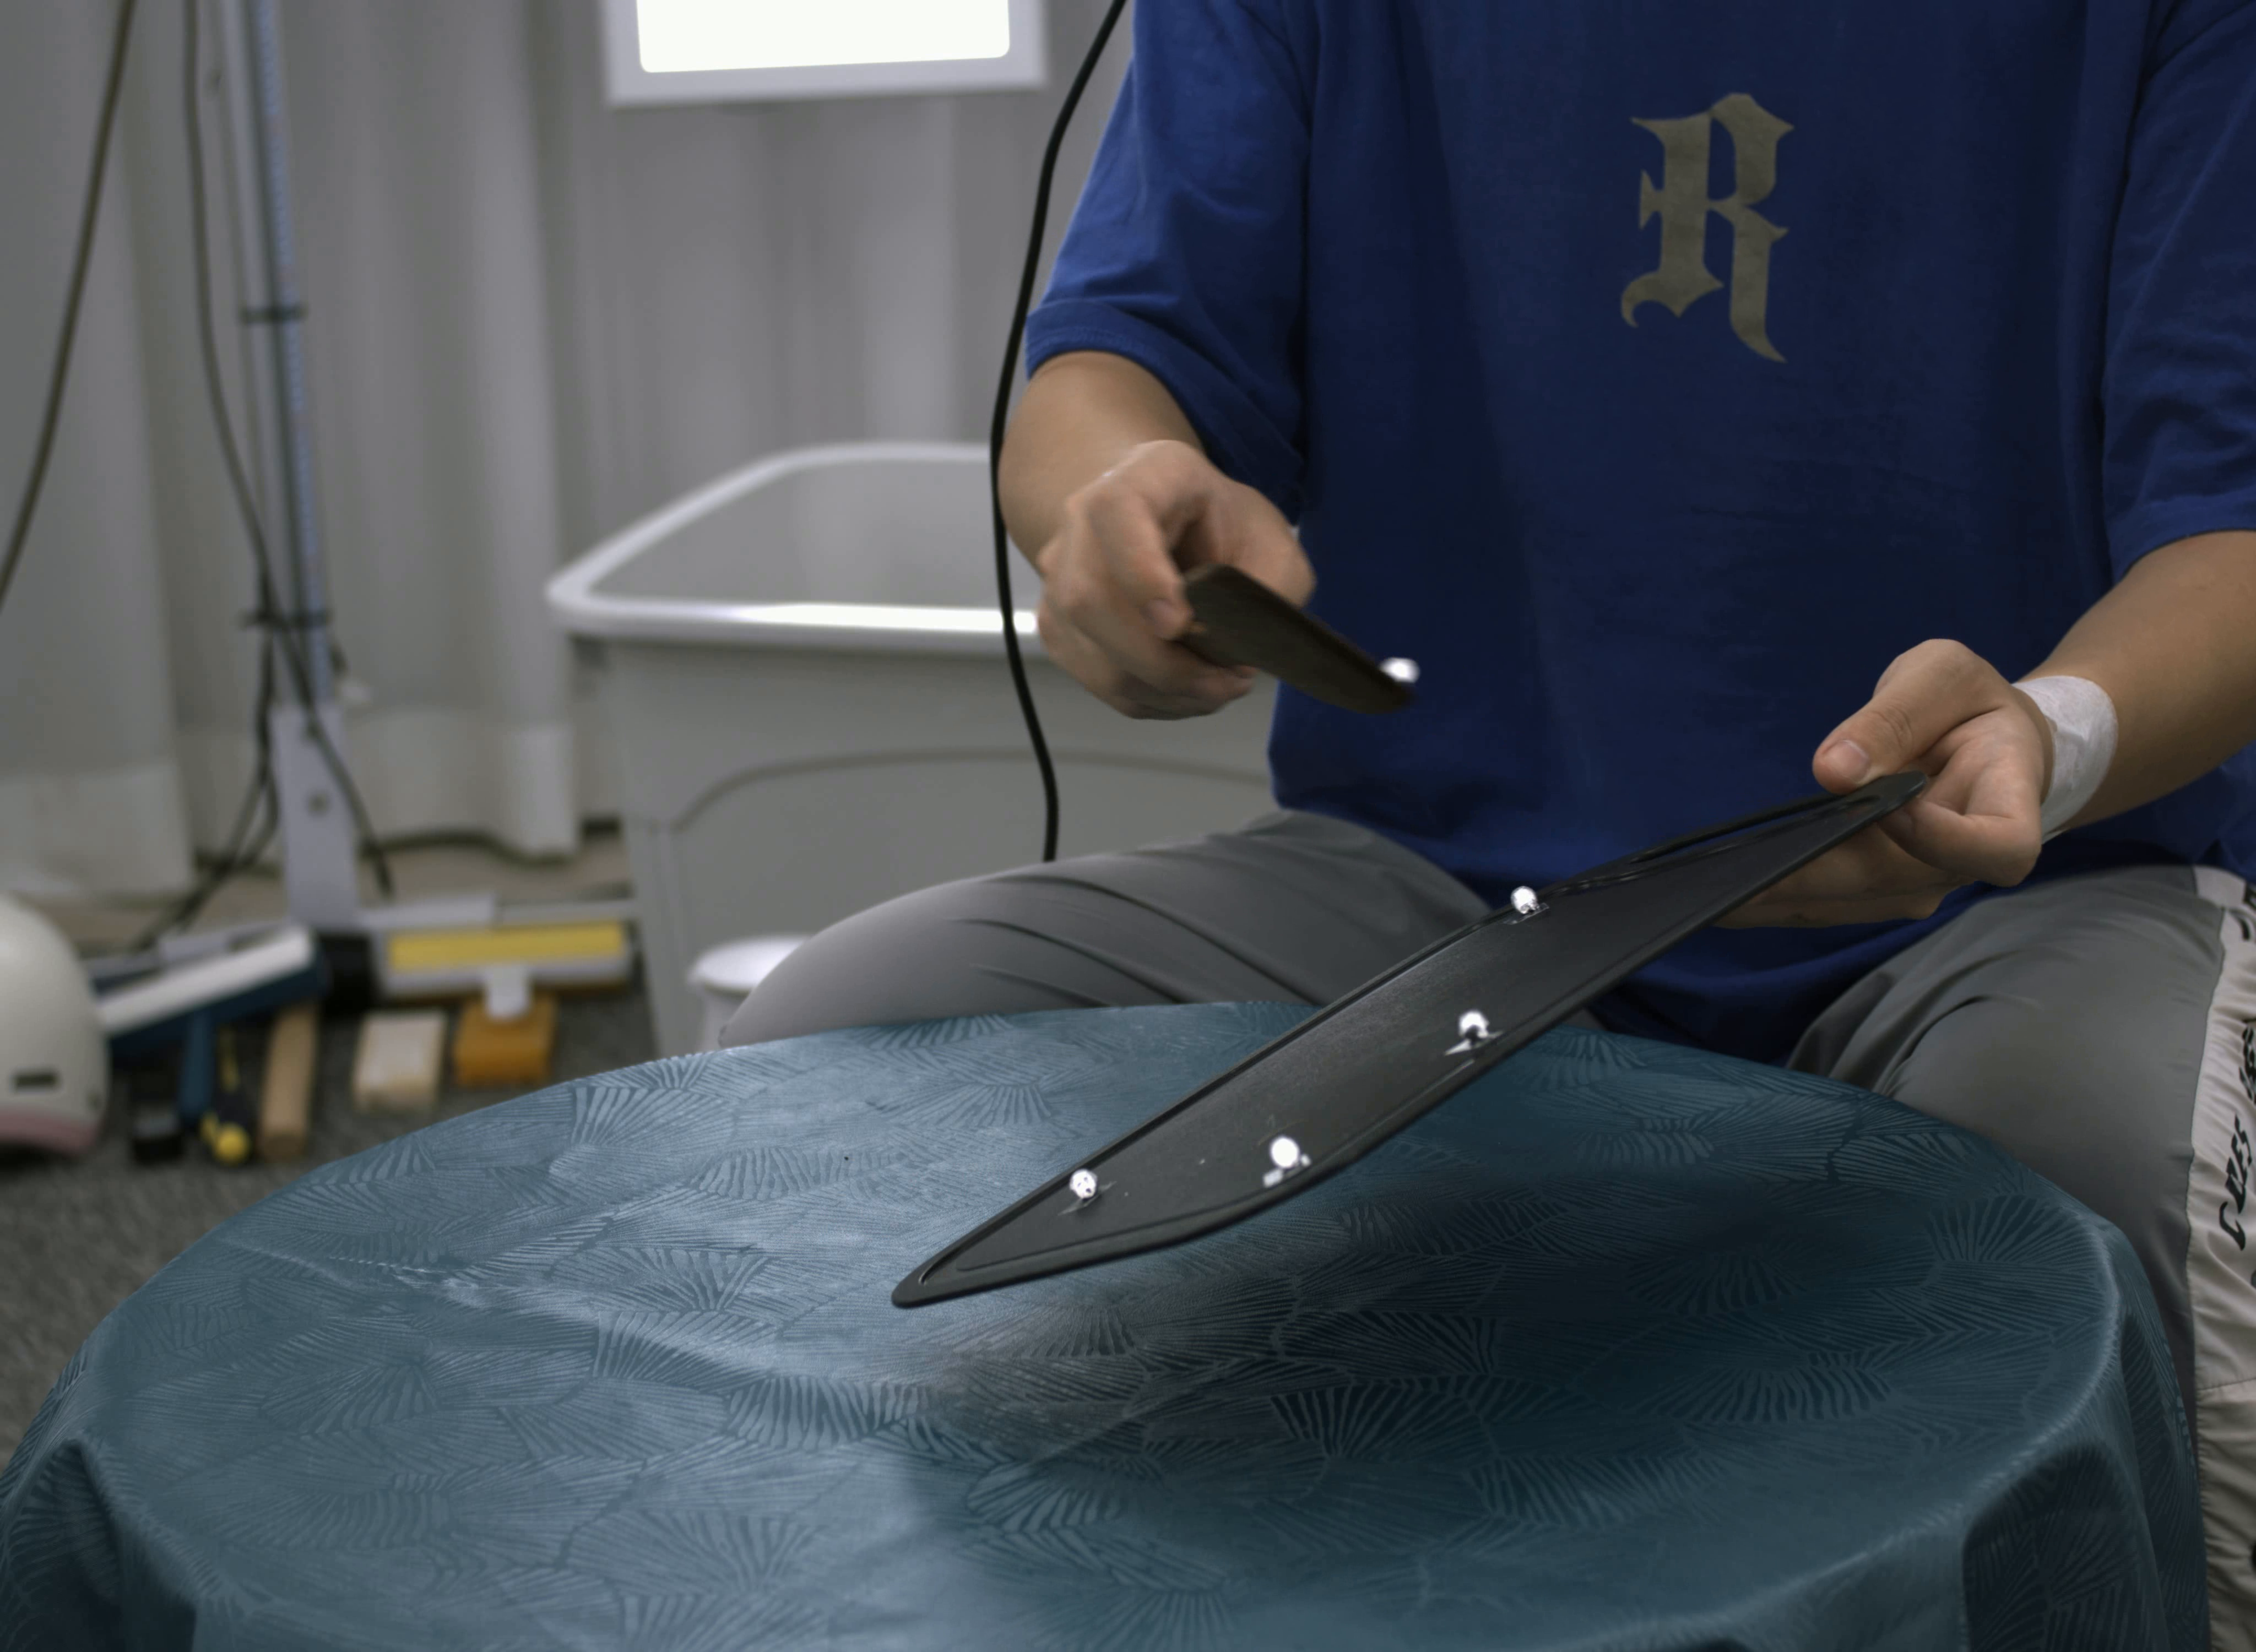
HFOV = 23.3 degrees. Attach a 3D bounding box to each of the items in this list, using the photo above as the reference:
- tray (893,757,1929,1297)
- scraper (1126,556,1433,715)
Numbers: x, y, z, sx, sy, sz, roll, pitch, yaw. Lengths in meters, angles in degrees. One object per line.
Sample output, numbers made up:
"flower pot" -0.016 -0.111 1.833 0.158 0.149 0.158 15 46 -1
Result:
"tray" 0.087 0.053 1.574 0.326 0.010 0.211 -30 6 -36
"scraper" 0.035 -0.056 1.686 0.075 0.011 0.211 34 -7 -12
